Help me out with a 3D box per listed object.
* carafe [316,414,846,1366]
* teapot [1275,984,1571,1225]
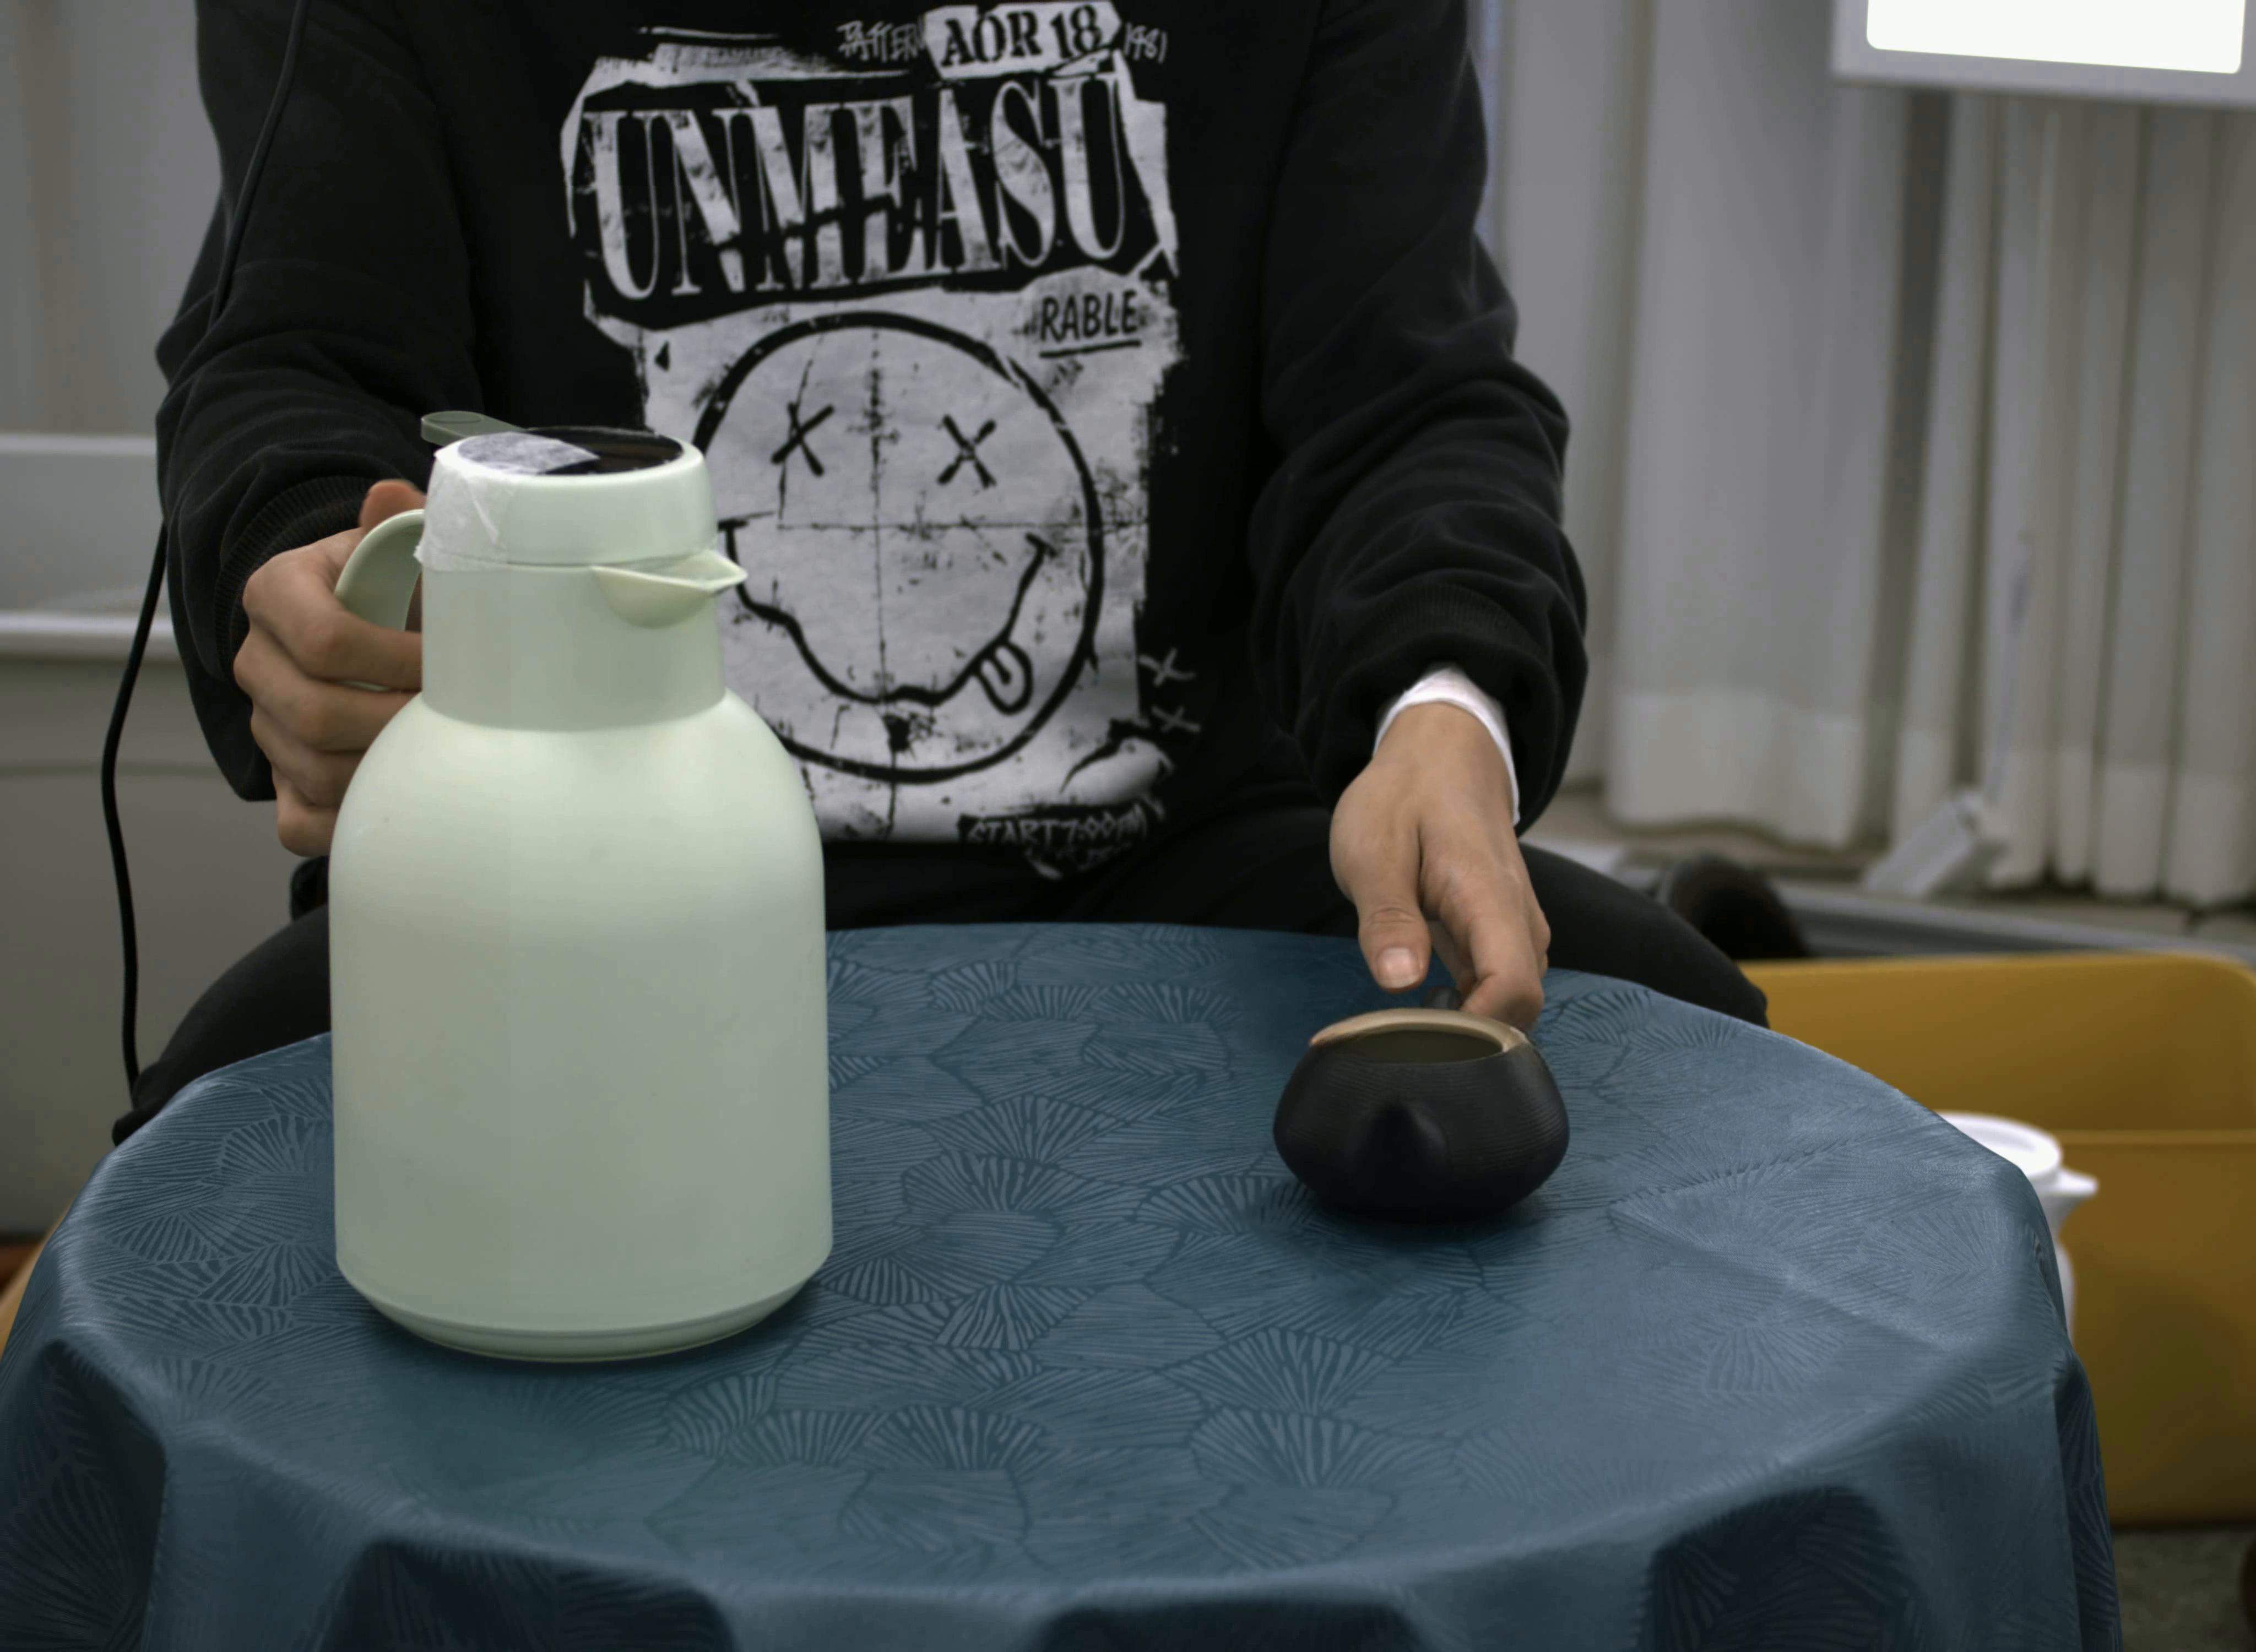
[{"bbox_3d":[-0.166,0.012,1.510,0.145,0.259,0.184,-16,20,-40],"label":"carafe"},{"bbox_3d":[0.090,0.088,1.611,0.090,0.053,0.133,5,17,10],"label":"teapot"}]
